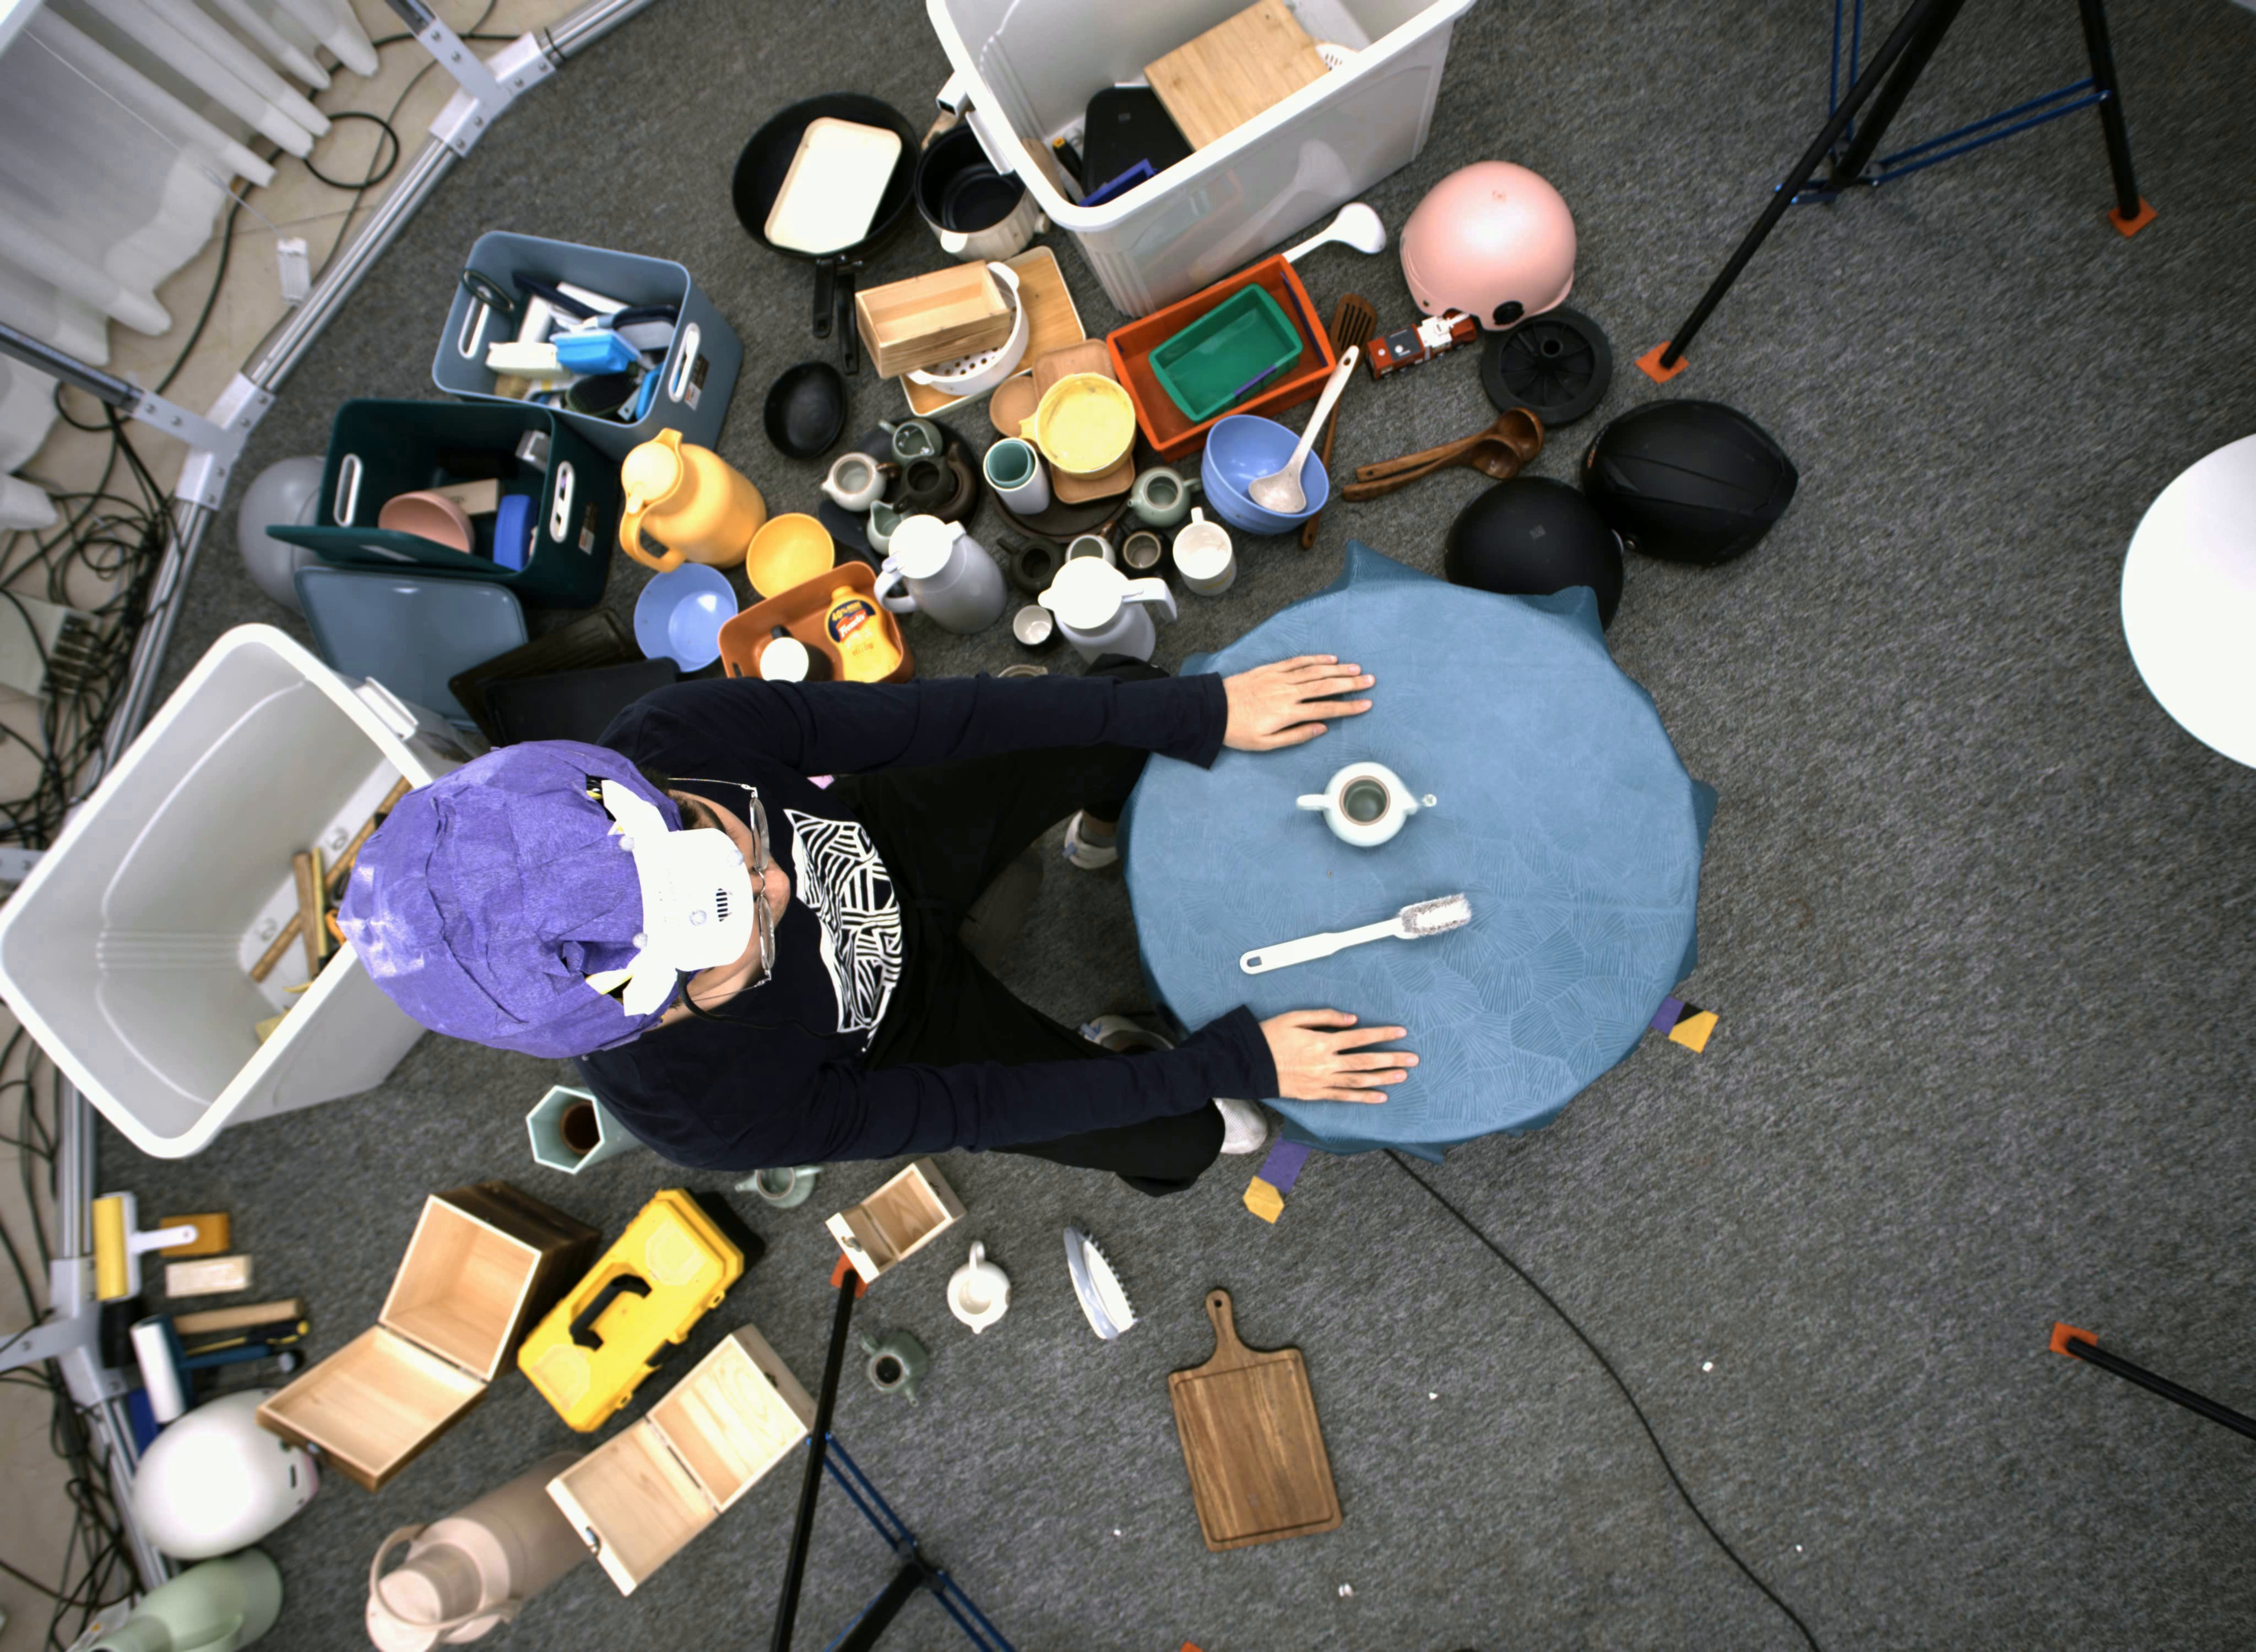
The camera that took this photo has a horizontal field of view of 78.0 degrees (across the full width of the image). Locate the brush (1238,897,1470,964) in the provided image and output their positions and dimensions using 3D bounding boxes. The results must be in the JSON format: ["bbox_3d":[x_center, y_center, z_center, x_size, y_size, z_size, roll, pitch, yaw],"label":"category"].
[{"bbox_3d":[0.232,0.111,1.439,0.245,0.050,0.034,-12,90,9],"label":"brush"}]

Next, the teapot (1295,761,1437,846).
[{"bbox_3d":[0.246,-0.024,1.432,0.144,0.075,0.088,3,87,9],"label":"teapot"}]
